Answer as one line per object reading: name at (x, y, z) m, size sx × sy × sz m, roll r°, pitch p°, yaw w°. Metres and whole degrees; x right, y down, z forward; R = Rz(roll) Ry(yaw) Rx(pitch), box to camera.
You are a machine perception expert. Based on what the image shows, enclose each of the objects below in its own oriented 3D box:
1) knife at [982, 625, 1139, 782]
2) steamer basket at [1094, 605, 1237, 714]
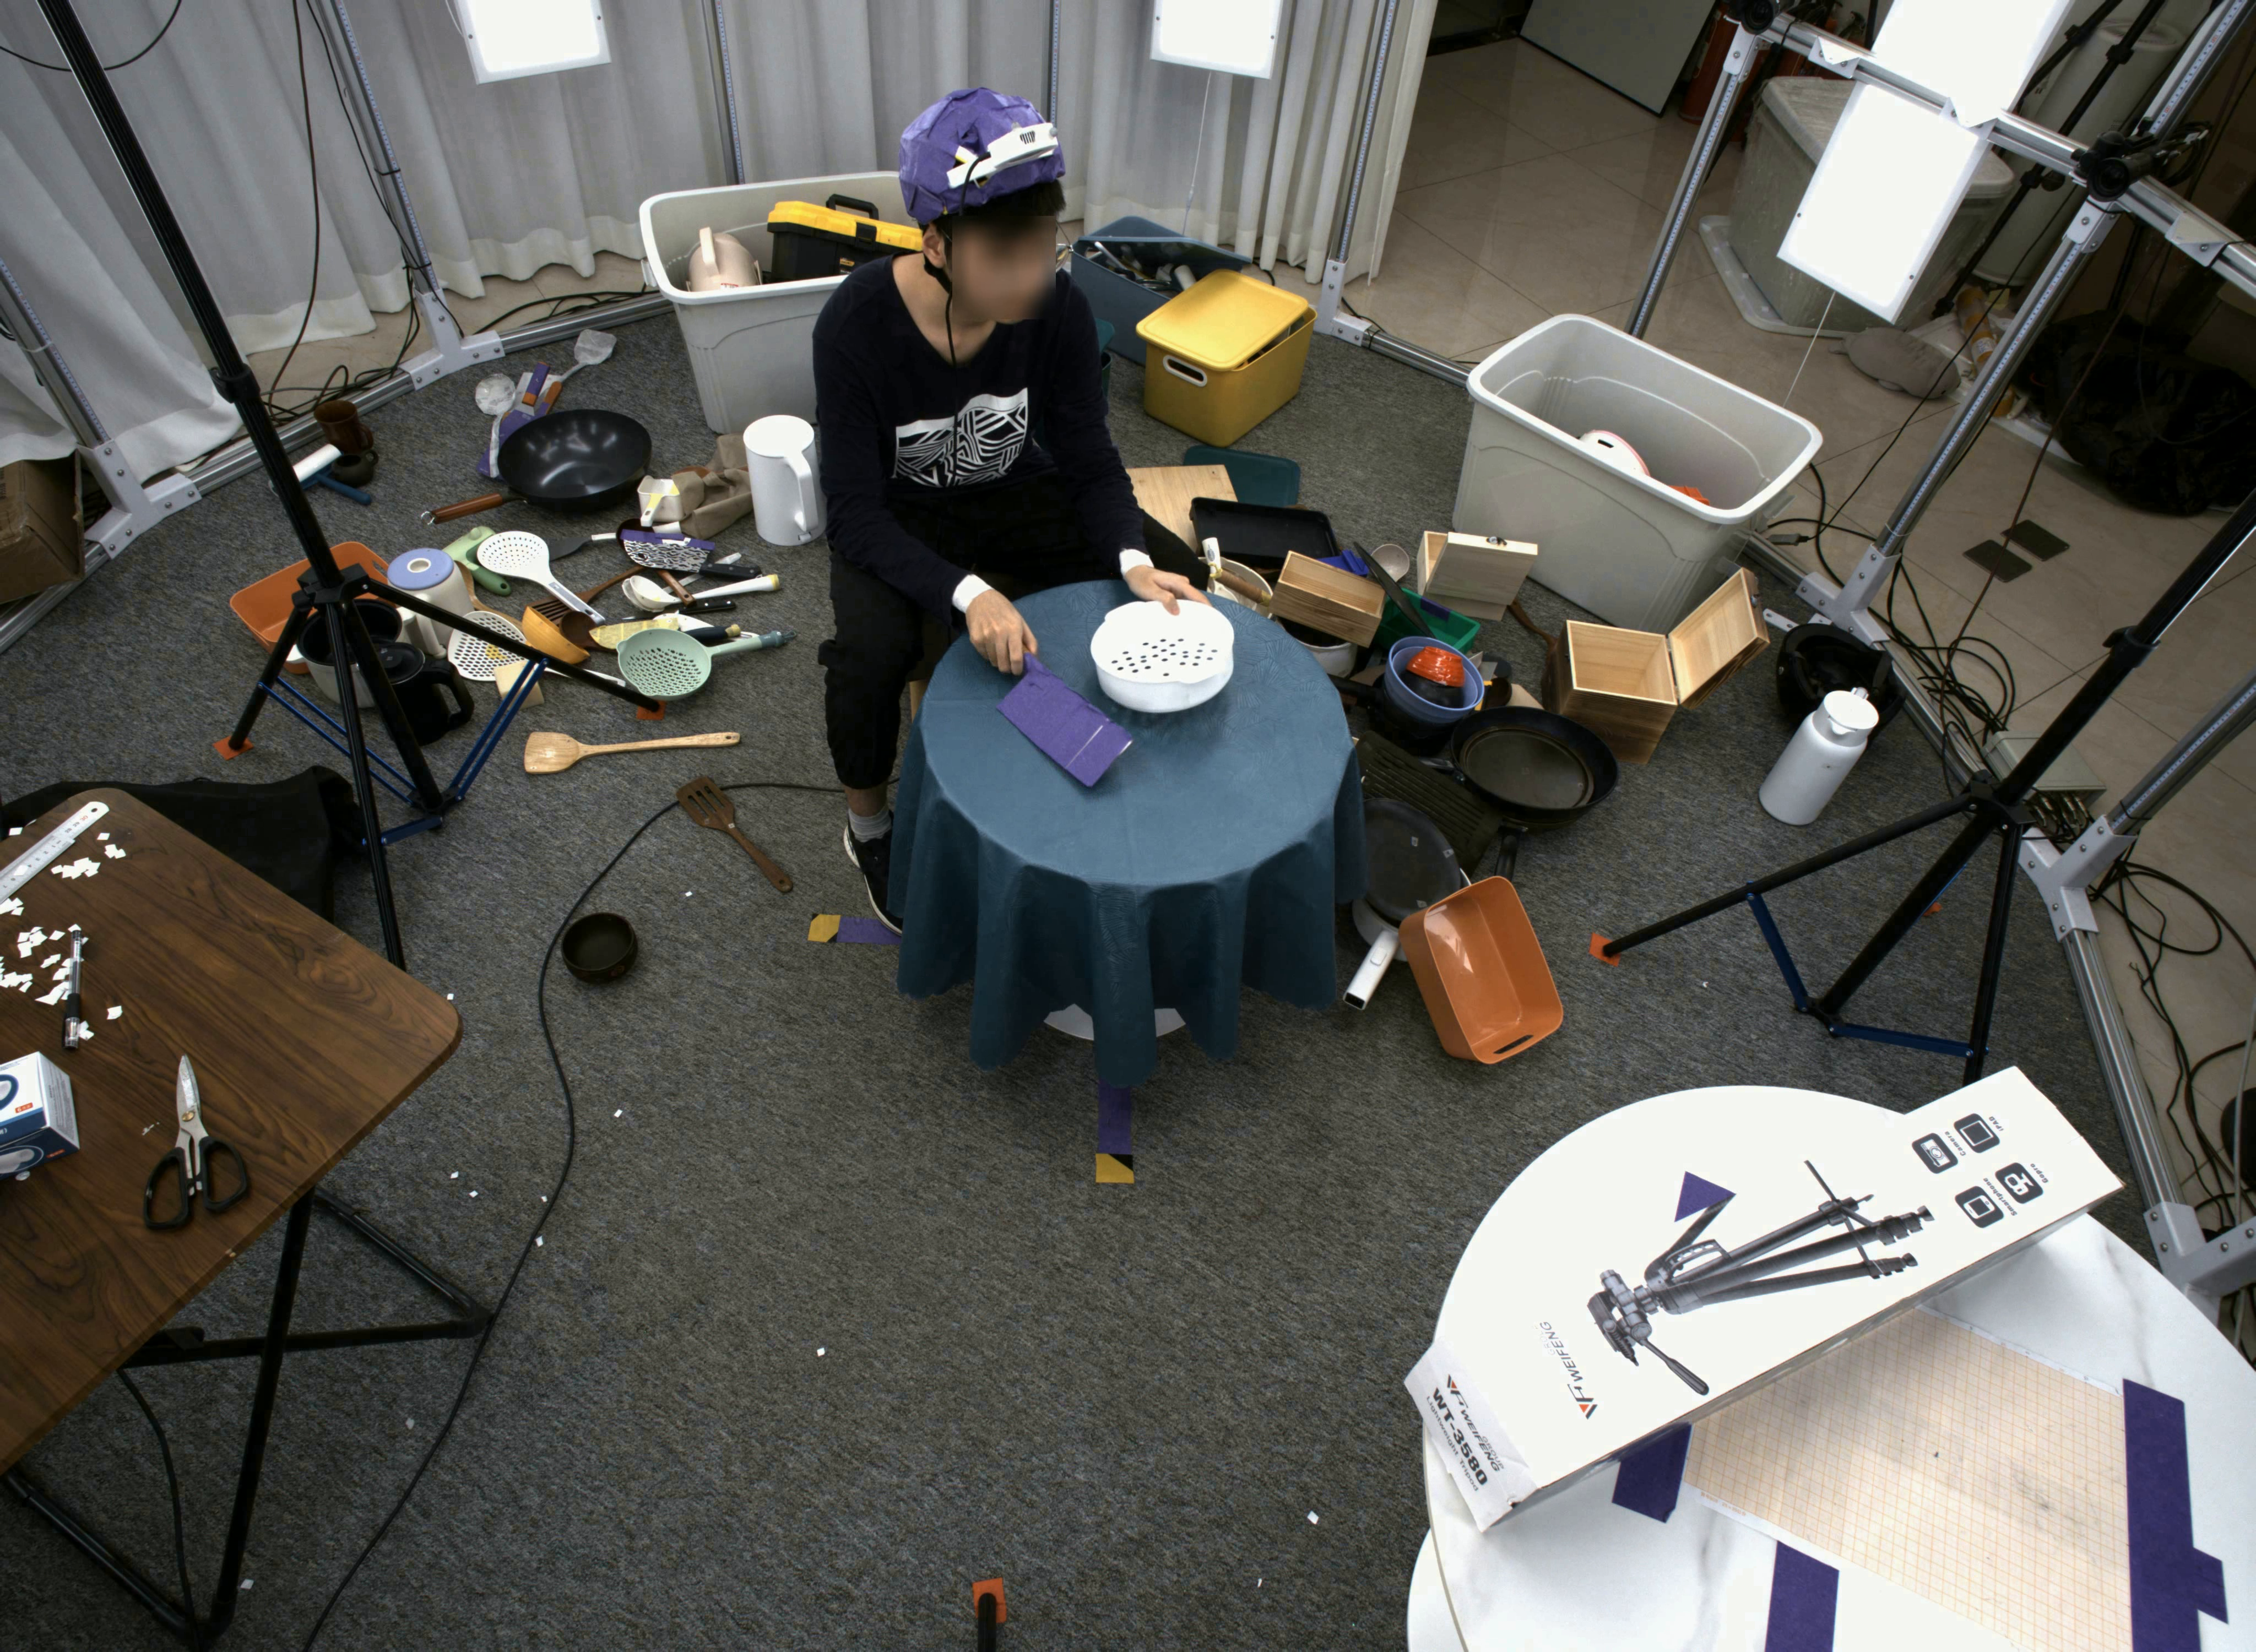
knife at (-0.120, -0.172, 1.771) m, size 0.104 × 0.031 × 0.321 m, roll -46°, pitch 56°, yaw -6°
steamer basket at (0.055, -0.235, 1.813) m, size 0.202 × 0.067 × 0.235 m, roll -25°, pitch 41°, yaw -20°
